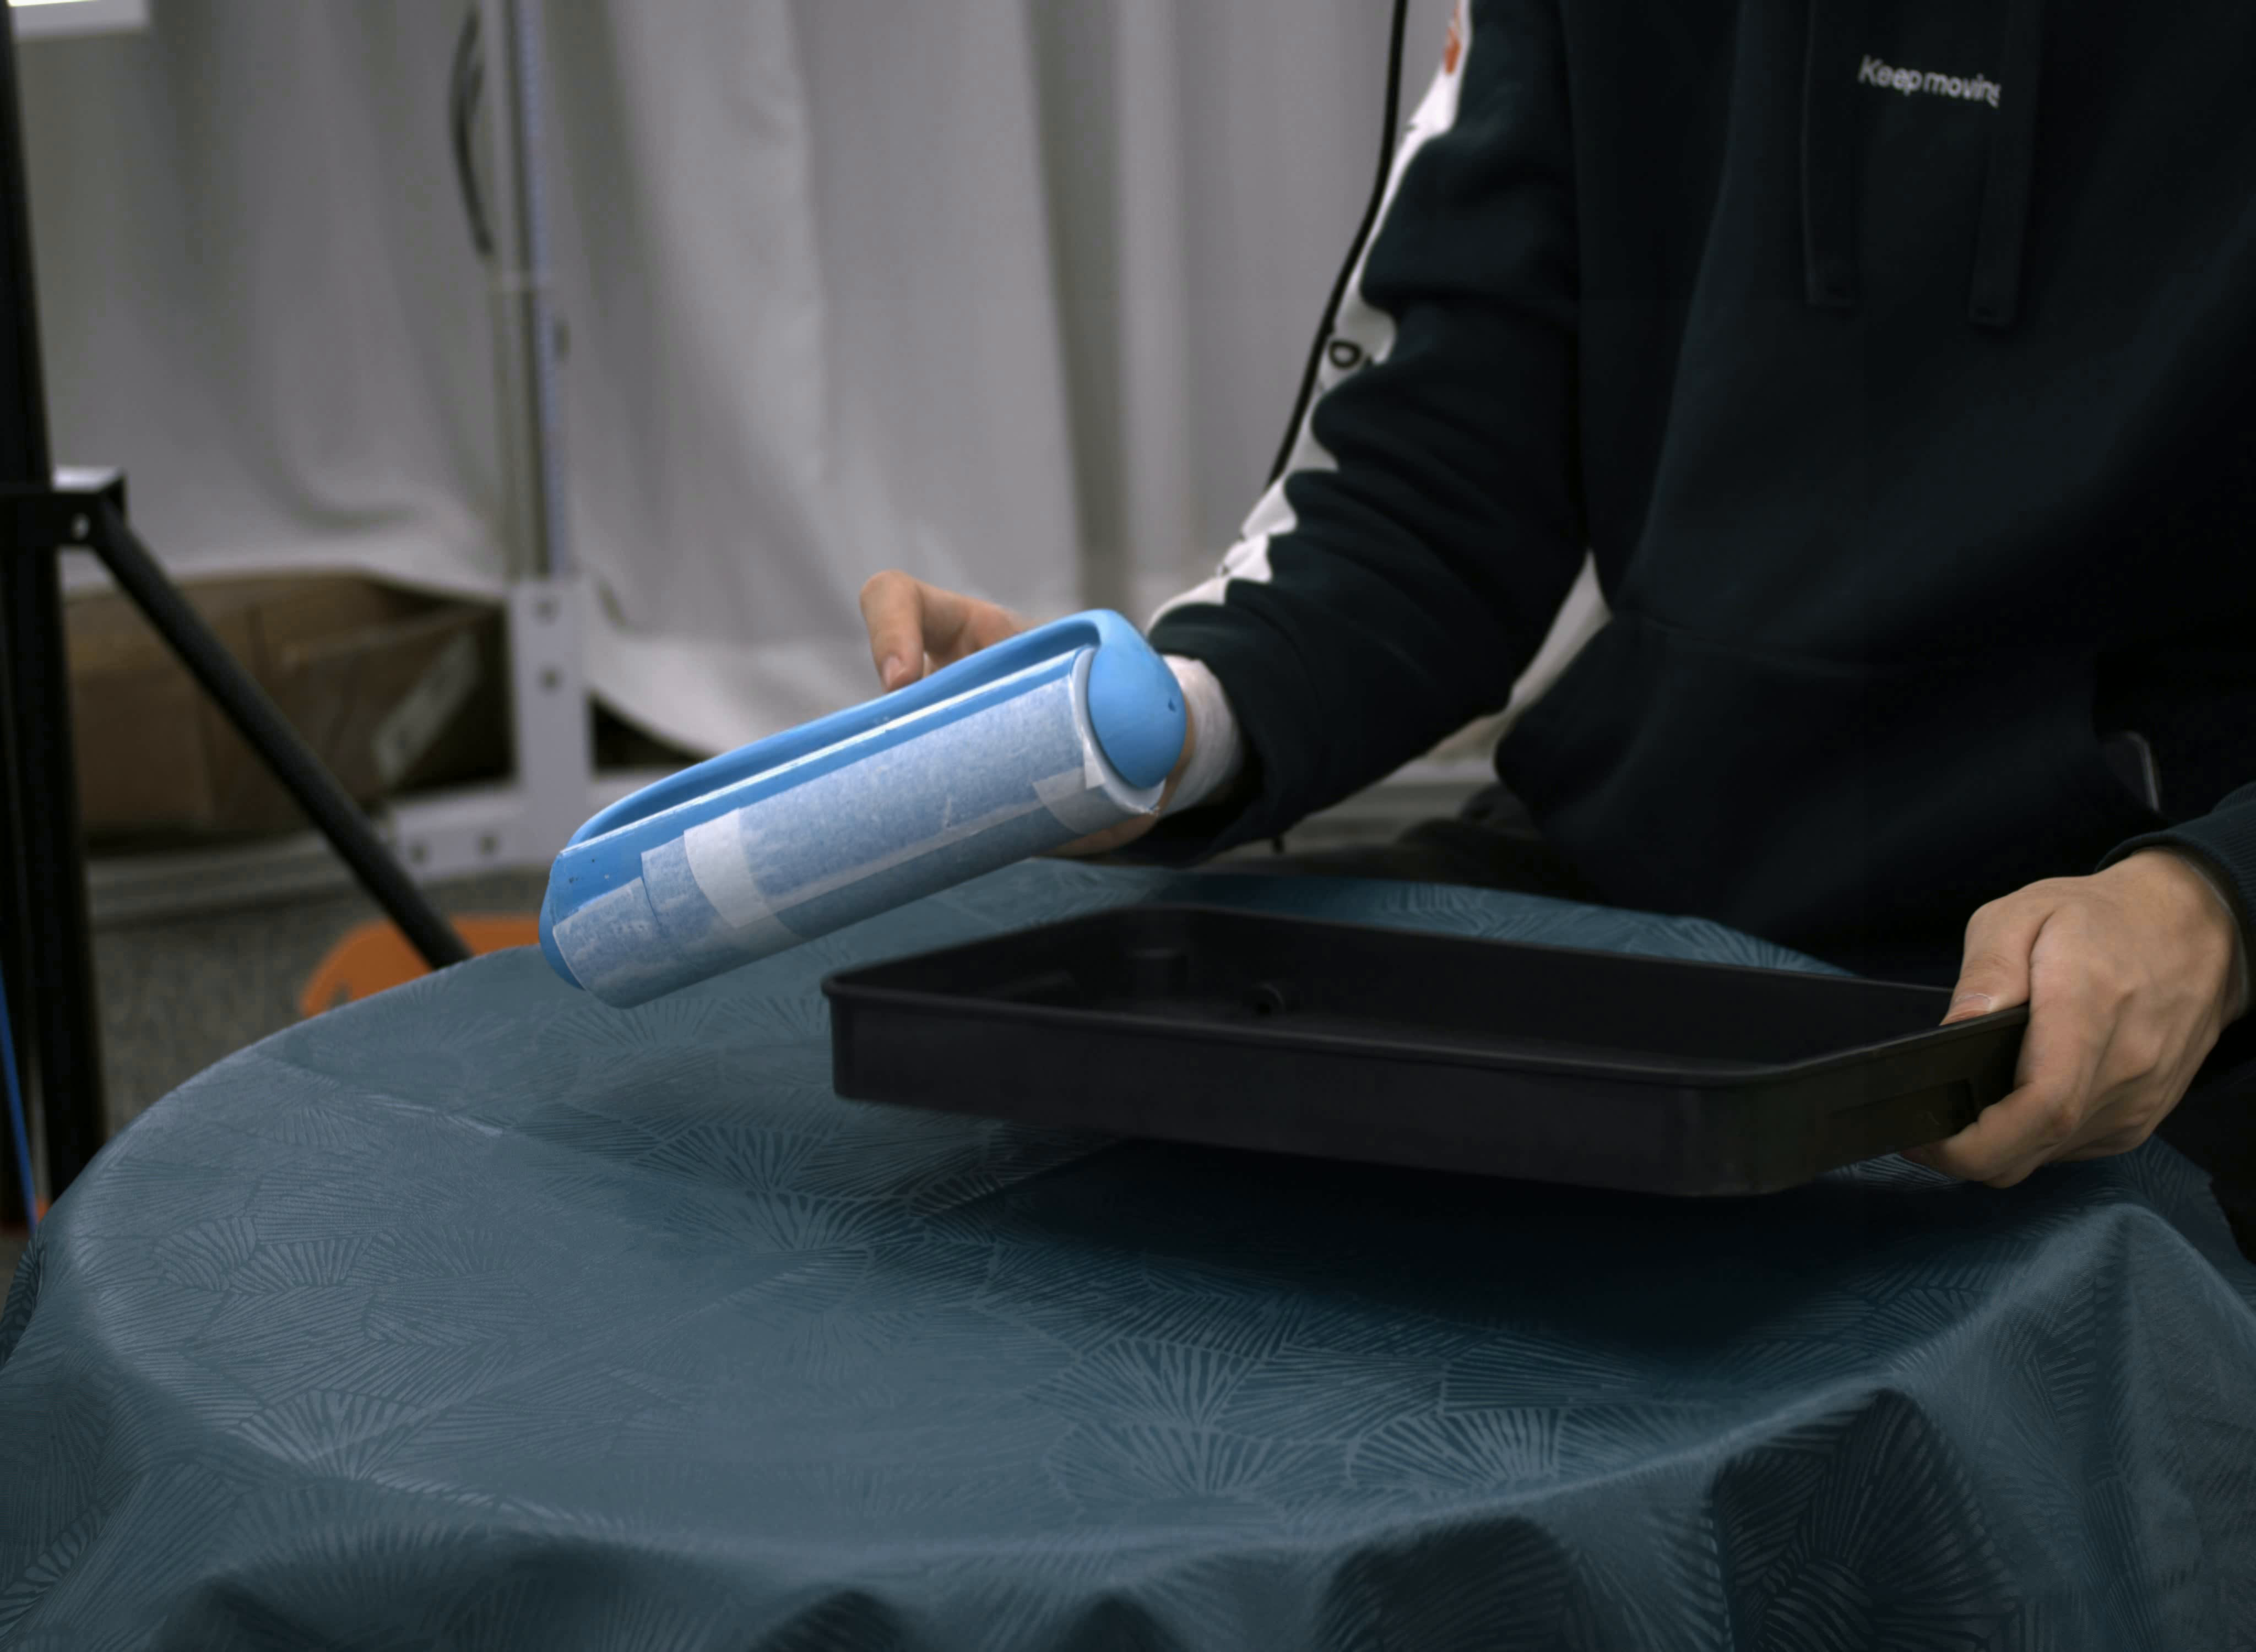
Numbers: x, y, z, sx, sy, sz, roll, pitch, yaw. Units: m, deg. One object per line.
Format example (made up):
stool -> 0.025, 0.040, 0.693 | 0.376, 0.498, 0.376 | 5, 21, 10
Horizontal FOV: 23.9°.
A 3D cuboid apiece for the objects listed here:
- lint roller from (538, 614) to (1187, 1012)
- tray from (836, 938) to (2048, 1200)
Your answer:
lint roller -> -0.064, -0.011, 1.667 | 0.231, 0.068, 0.178 | -22, 4, 24
tray -> 0.088, 0.067, 1.520 | 0.324, 0.037, 0.180 | 2, 7, 36
